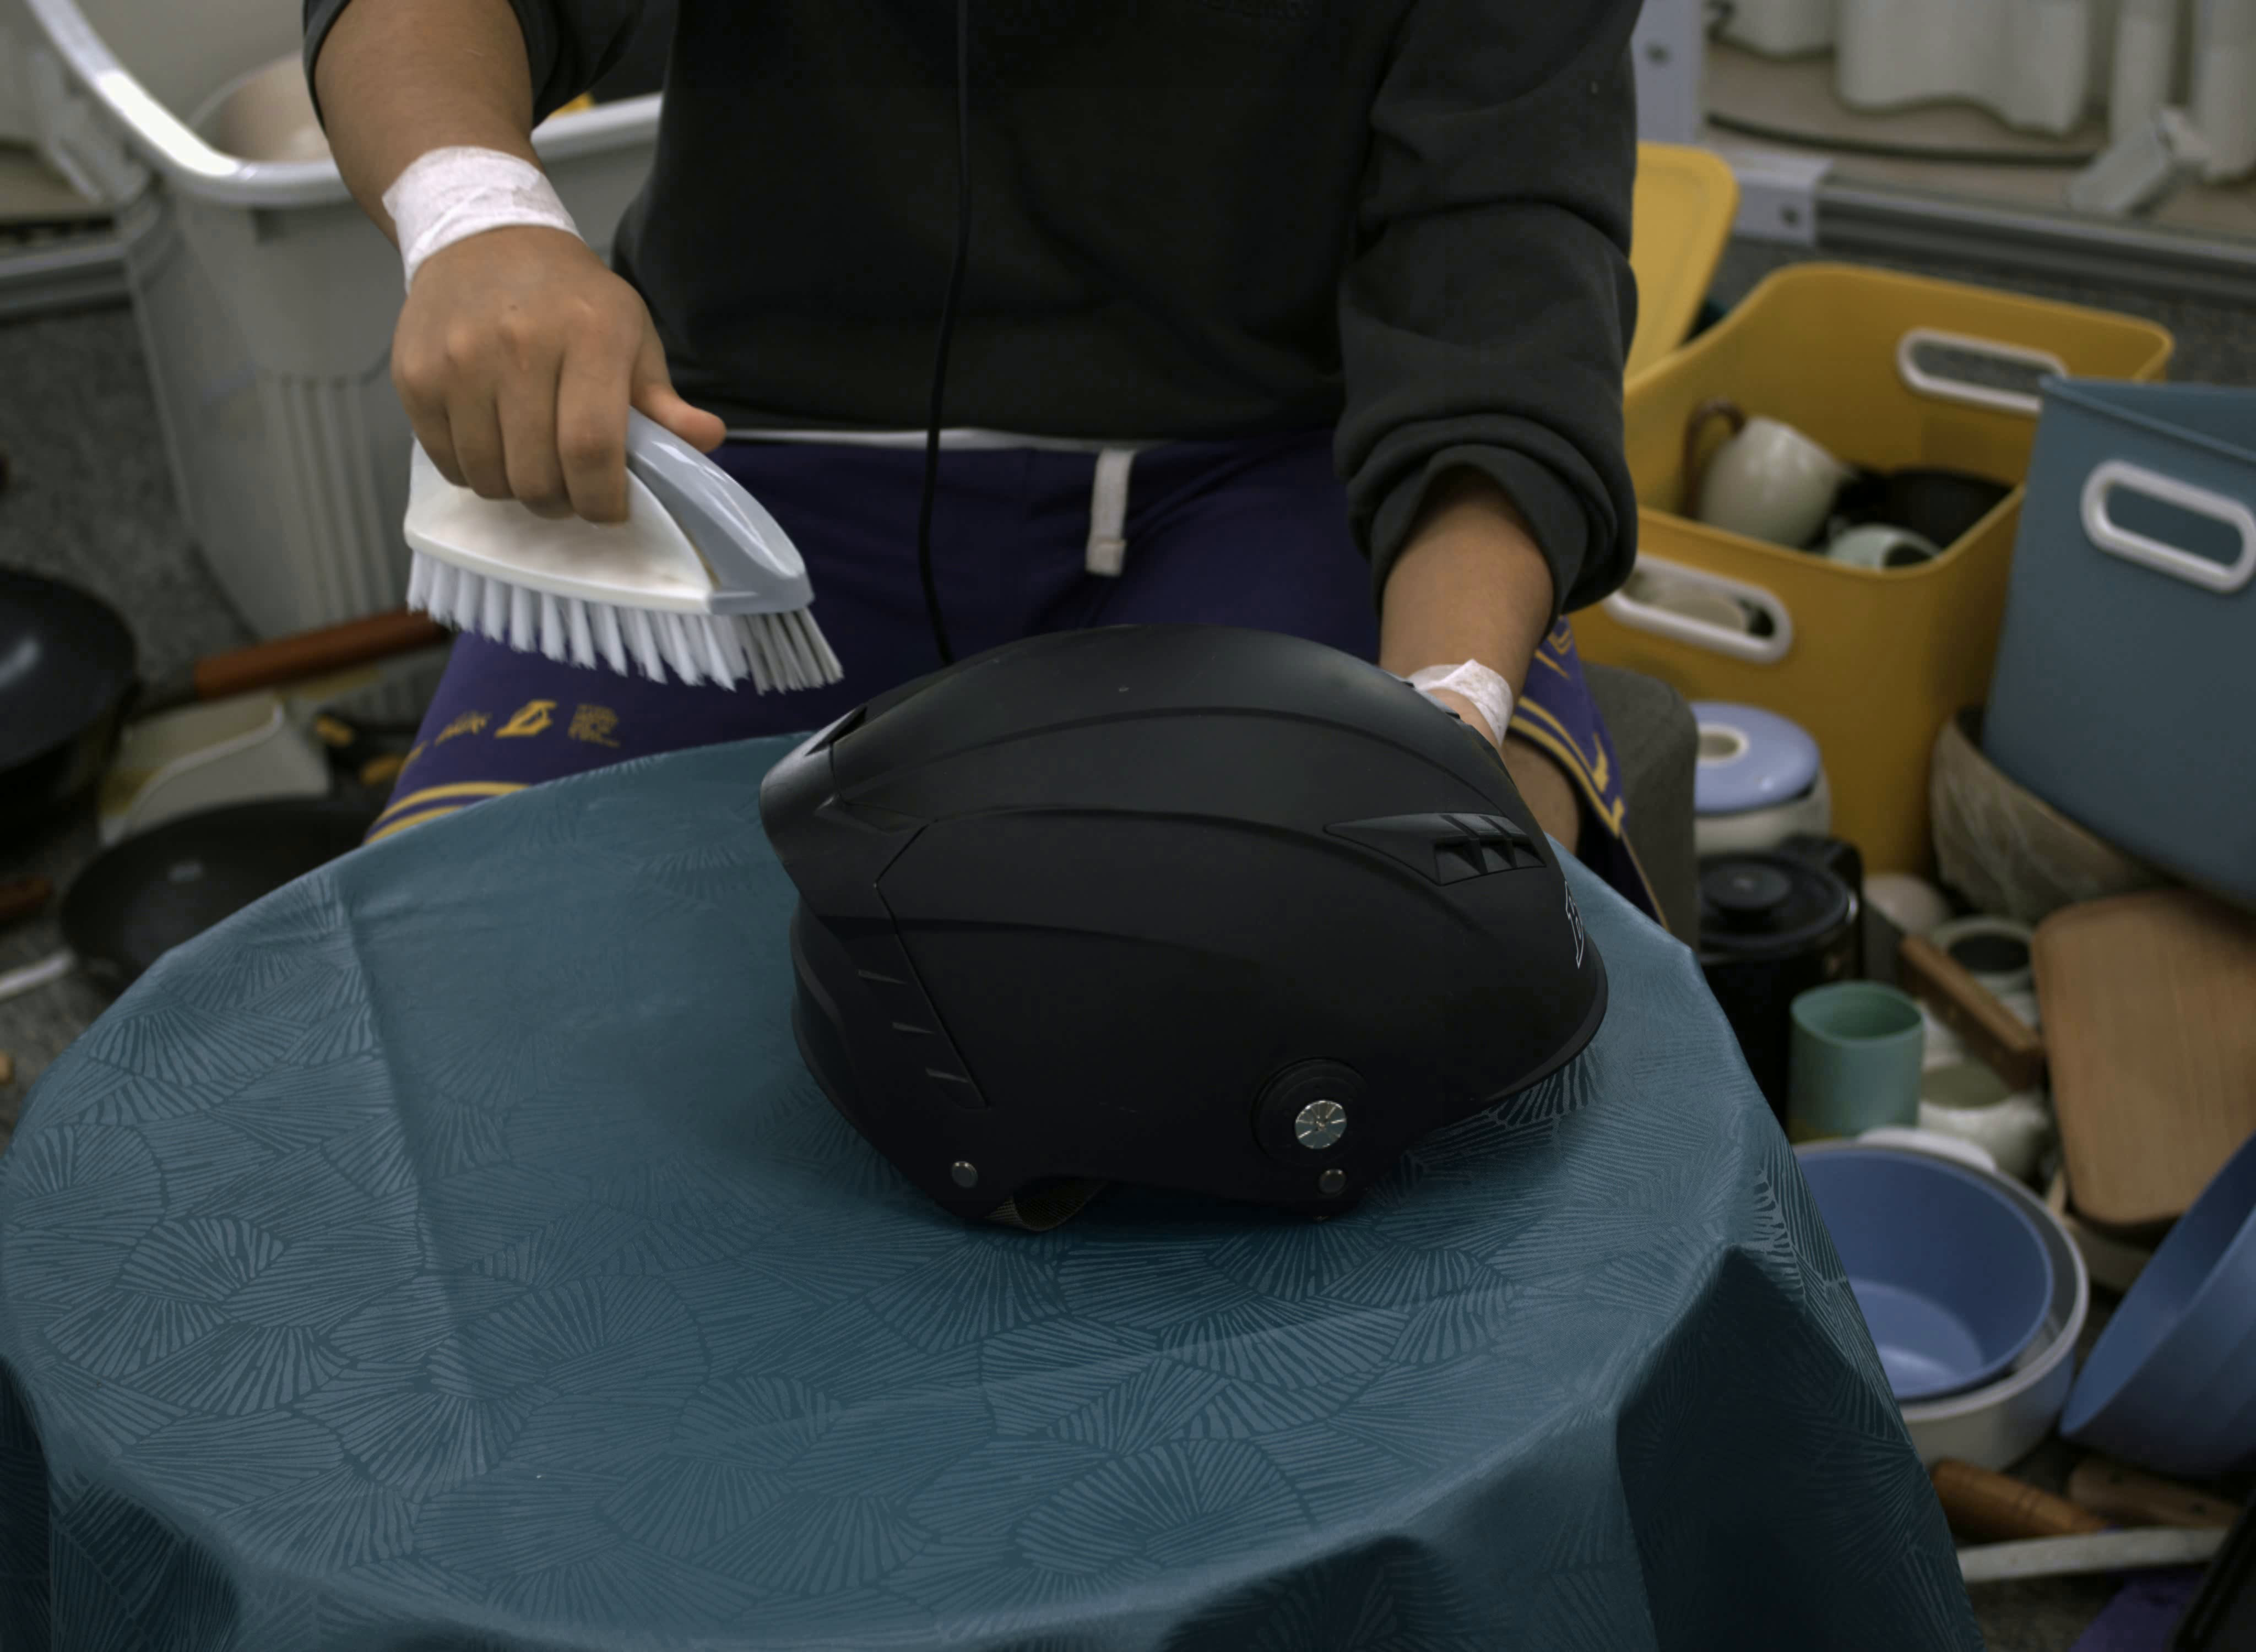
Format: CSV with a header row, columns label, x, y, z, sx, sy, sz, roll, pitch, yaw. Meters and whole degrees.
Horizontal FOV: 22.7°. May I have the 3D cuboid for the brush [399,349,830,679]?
label,x,y,z,sx,sy,sz,roll,pitch,yaw
brush,-0.172,-0.107,1.872,0.175,0.093,0.062,20,44,34

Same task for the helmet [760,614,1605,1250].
label,x,y,z,sx,sy,sz,roll,pitch,yaw
helmet,0.017,0.017,1.892,0.275,0.170,0.250,-9,28,-1
